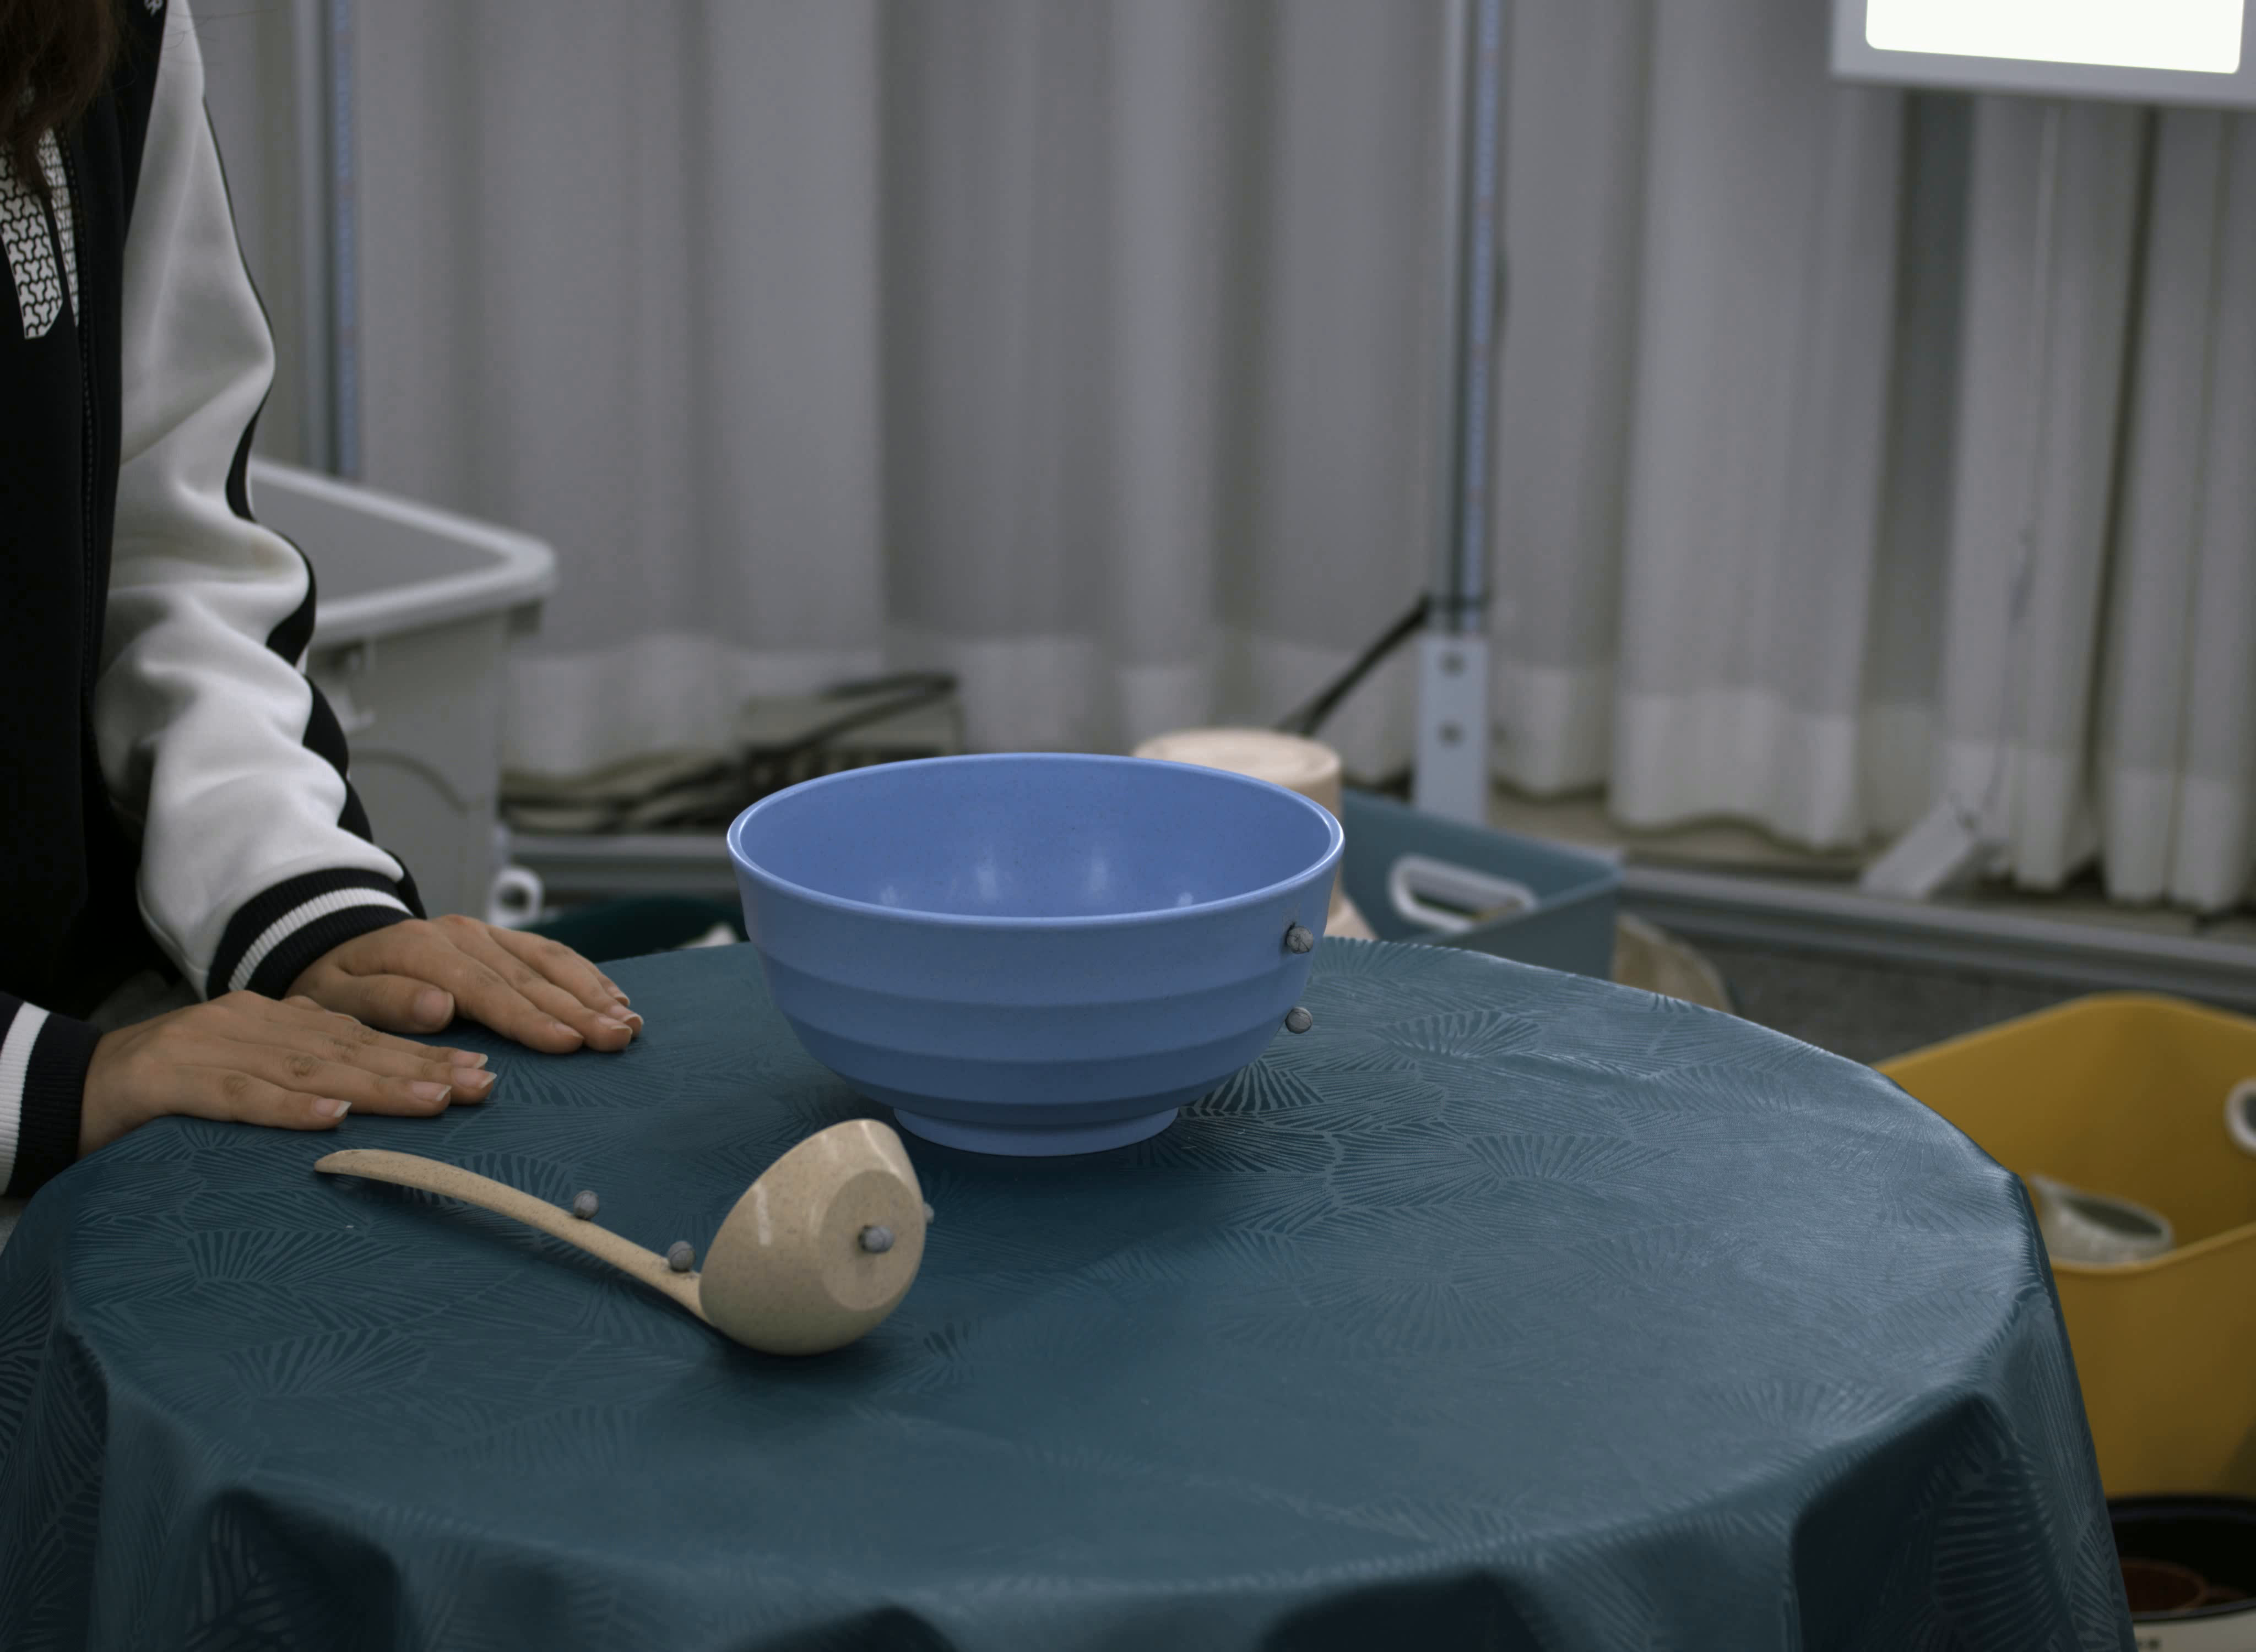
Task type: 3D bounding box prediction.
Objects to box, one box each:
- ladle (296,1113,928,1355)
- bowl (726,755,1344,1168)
[{"bbox_3d":[-0.162,0.095,1.540,0.251,0.073,0.072,14,20,40],"label":"ladle"},{"bbox_3d":[-0.029,0.050,1.682,0.196,0.096,0.195,-1,17,1],"label":"bowl"}]
